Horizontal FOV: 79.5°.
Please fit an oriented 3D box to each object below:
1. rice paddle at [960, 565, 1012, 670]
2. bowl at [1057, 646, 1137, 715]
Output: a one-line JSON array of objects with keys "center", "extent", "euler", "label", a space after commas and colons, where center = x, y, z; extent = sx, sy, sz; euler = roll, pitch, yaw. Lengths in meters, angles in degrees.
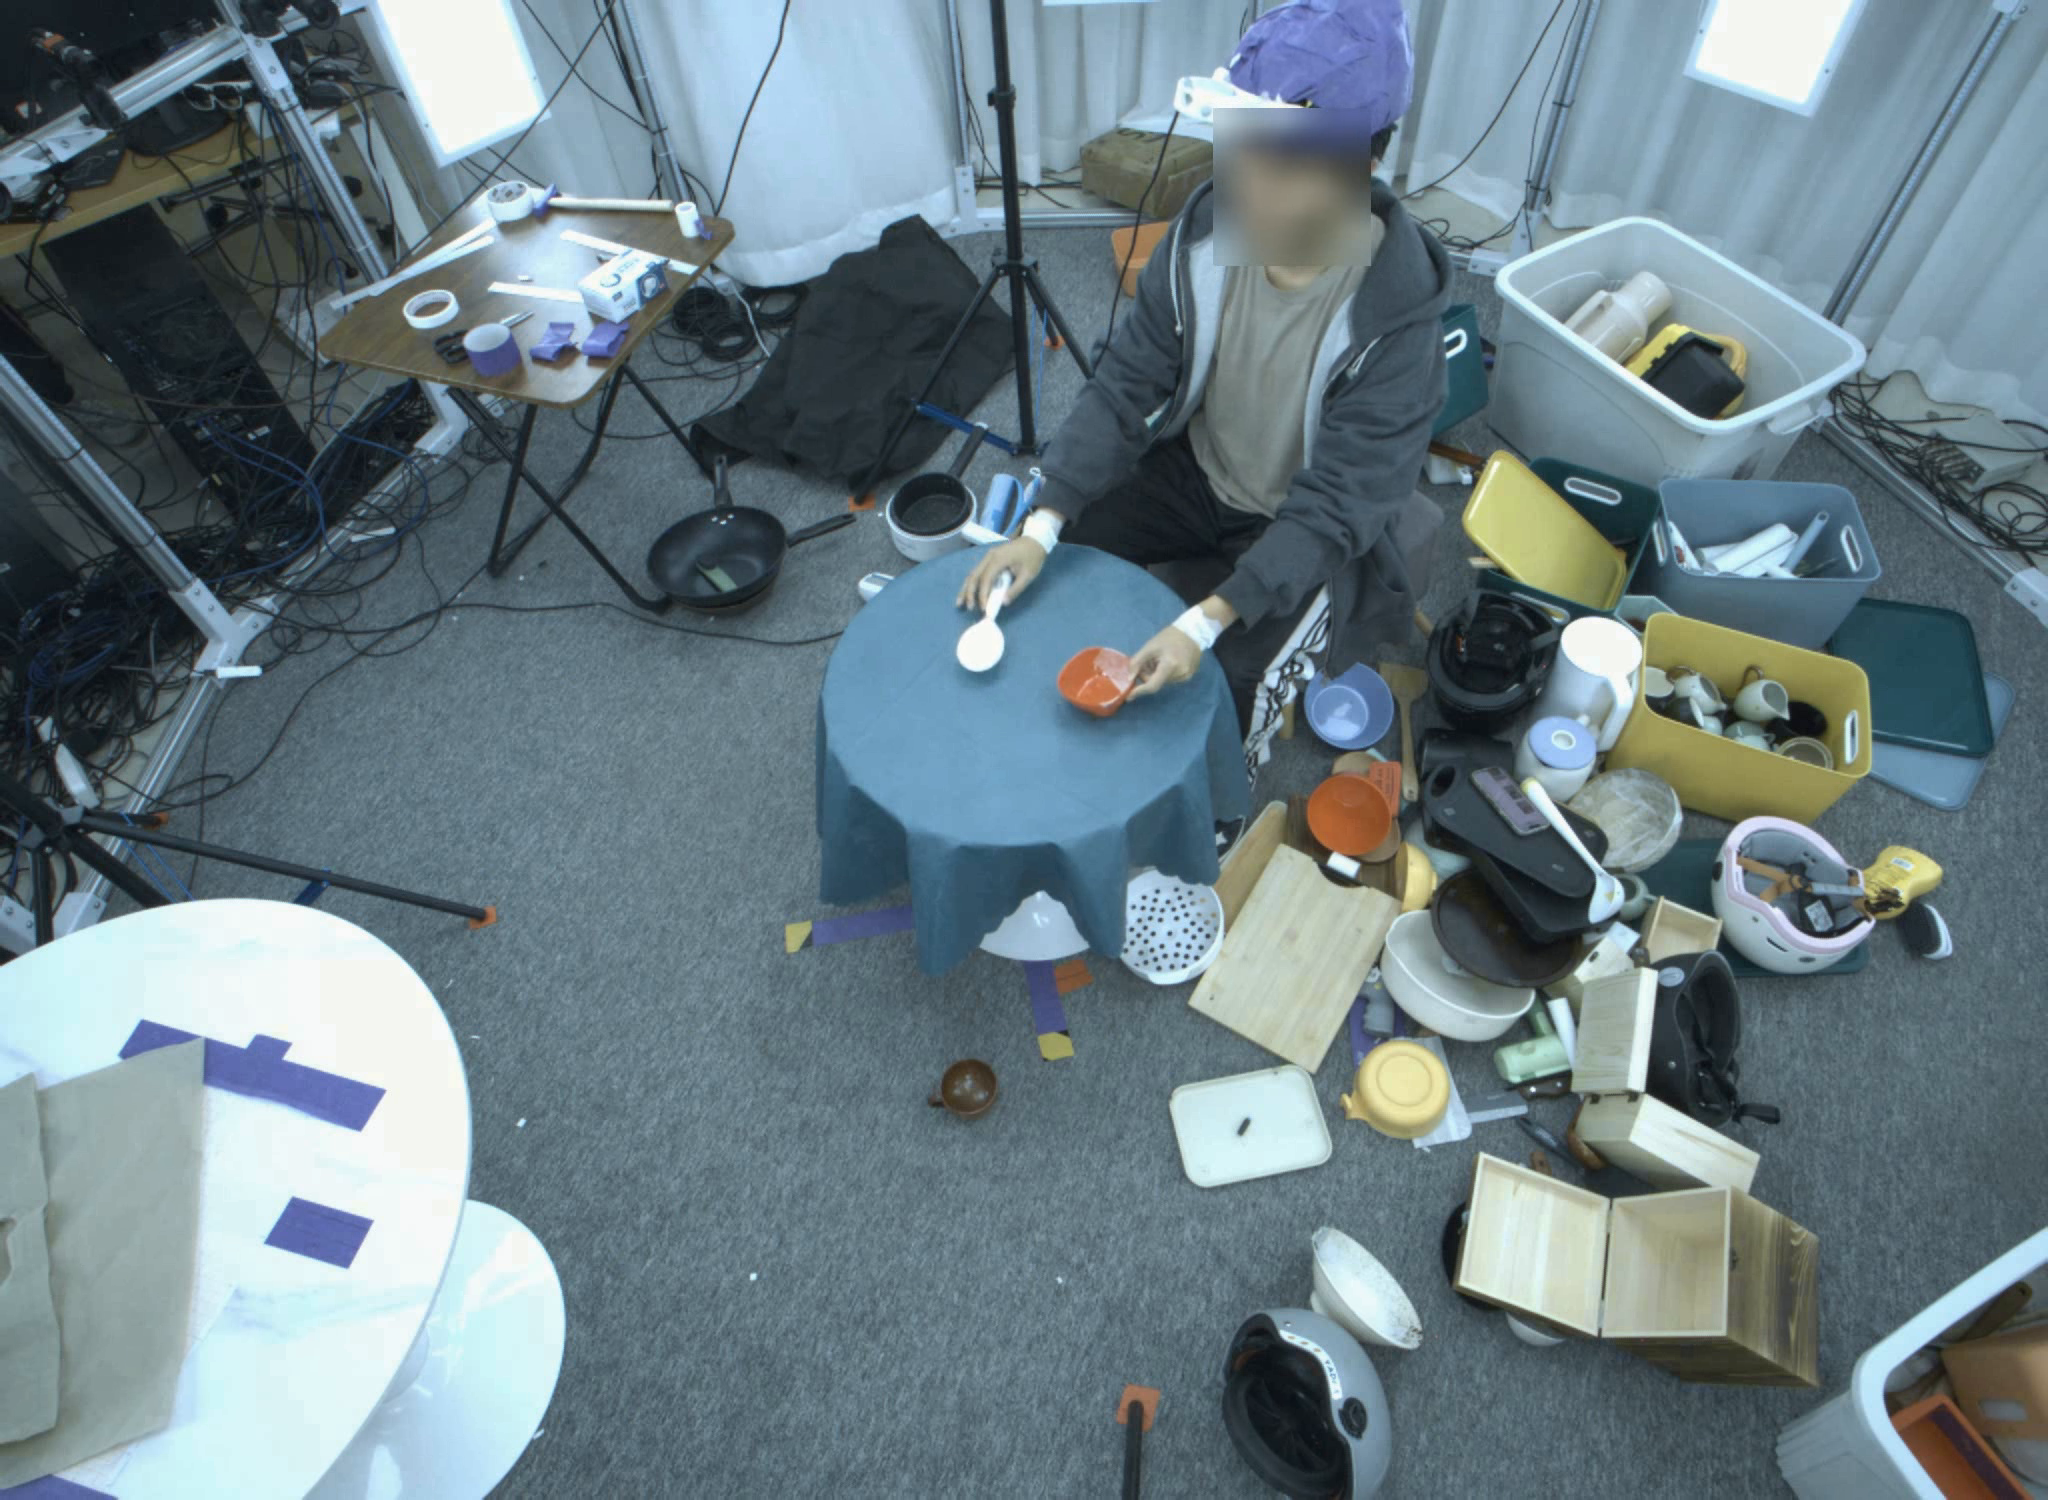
[{"center": [-0.053, -0.204, 1.900], "extent": [0.068, 0.030, 0.204], "euler": [9, 55, 6], "label": "rice paddle"}, {"center": [0.111, -0.095, 1.816], "extent": [0.118, 0.052, 0.117], "euler": [-5, 51, 8], "label": "bowl"}]
